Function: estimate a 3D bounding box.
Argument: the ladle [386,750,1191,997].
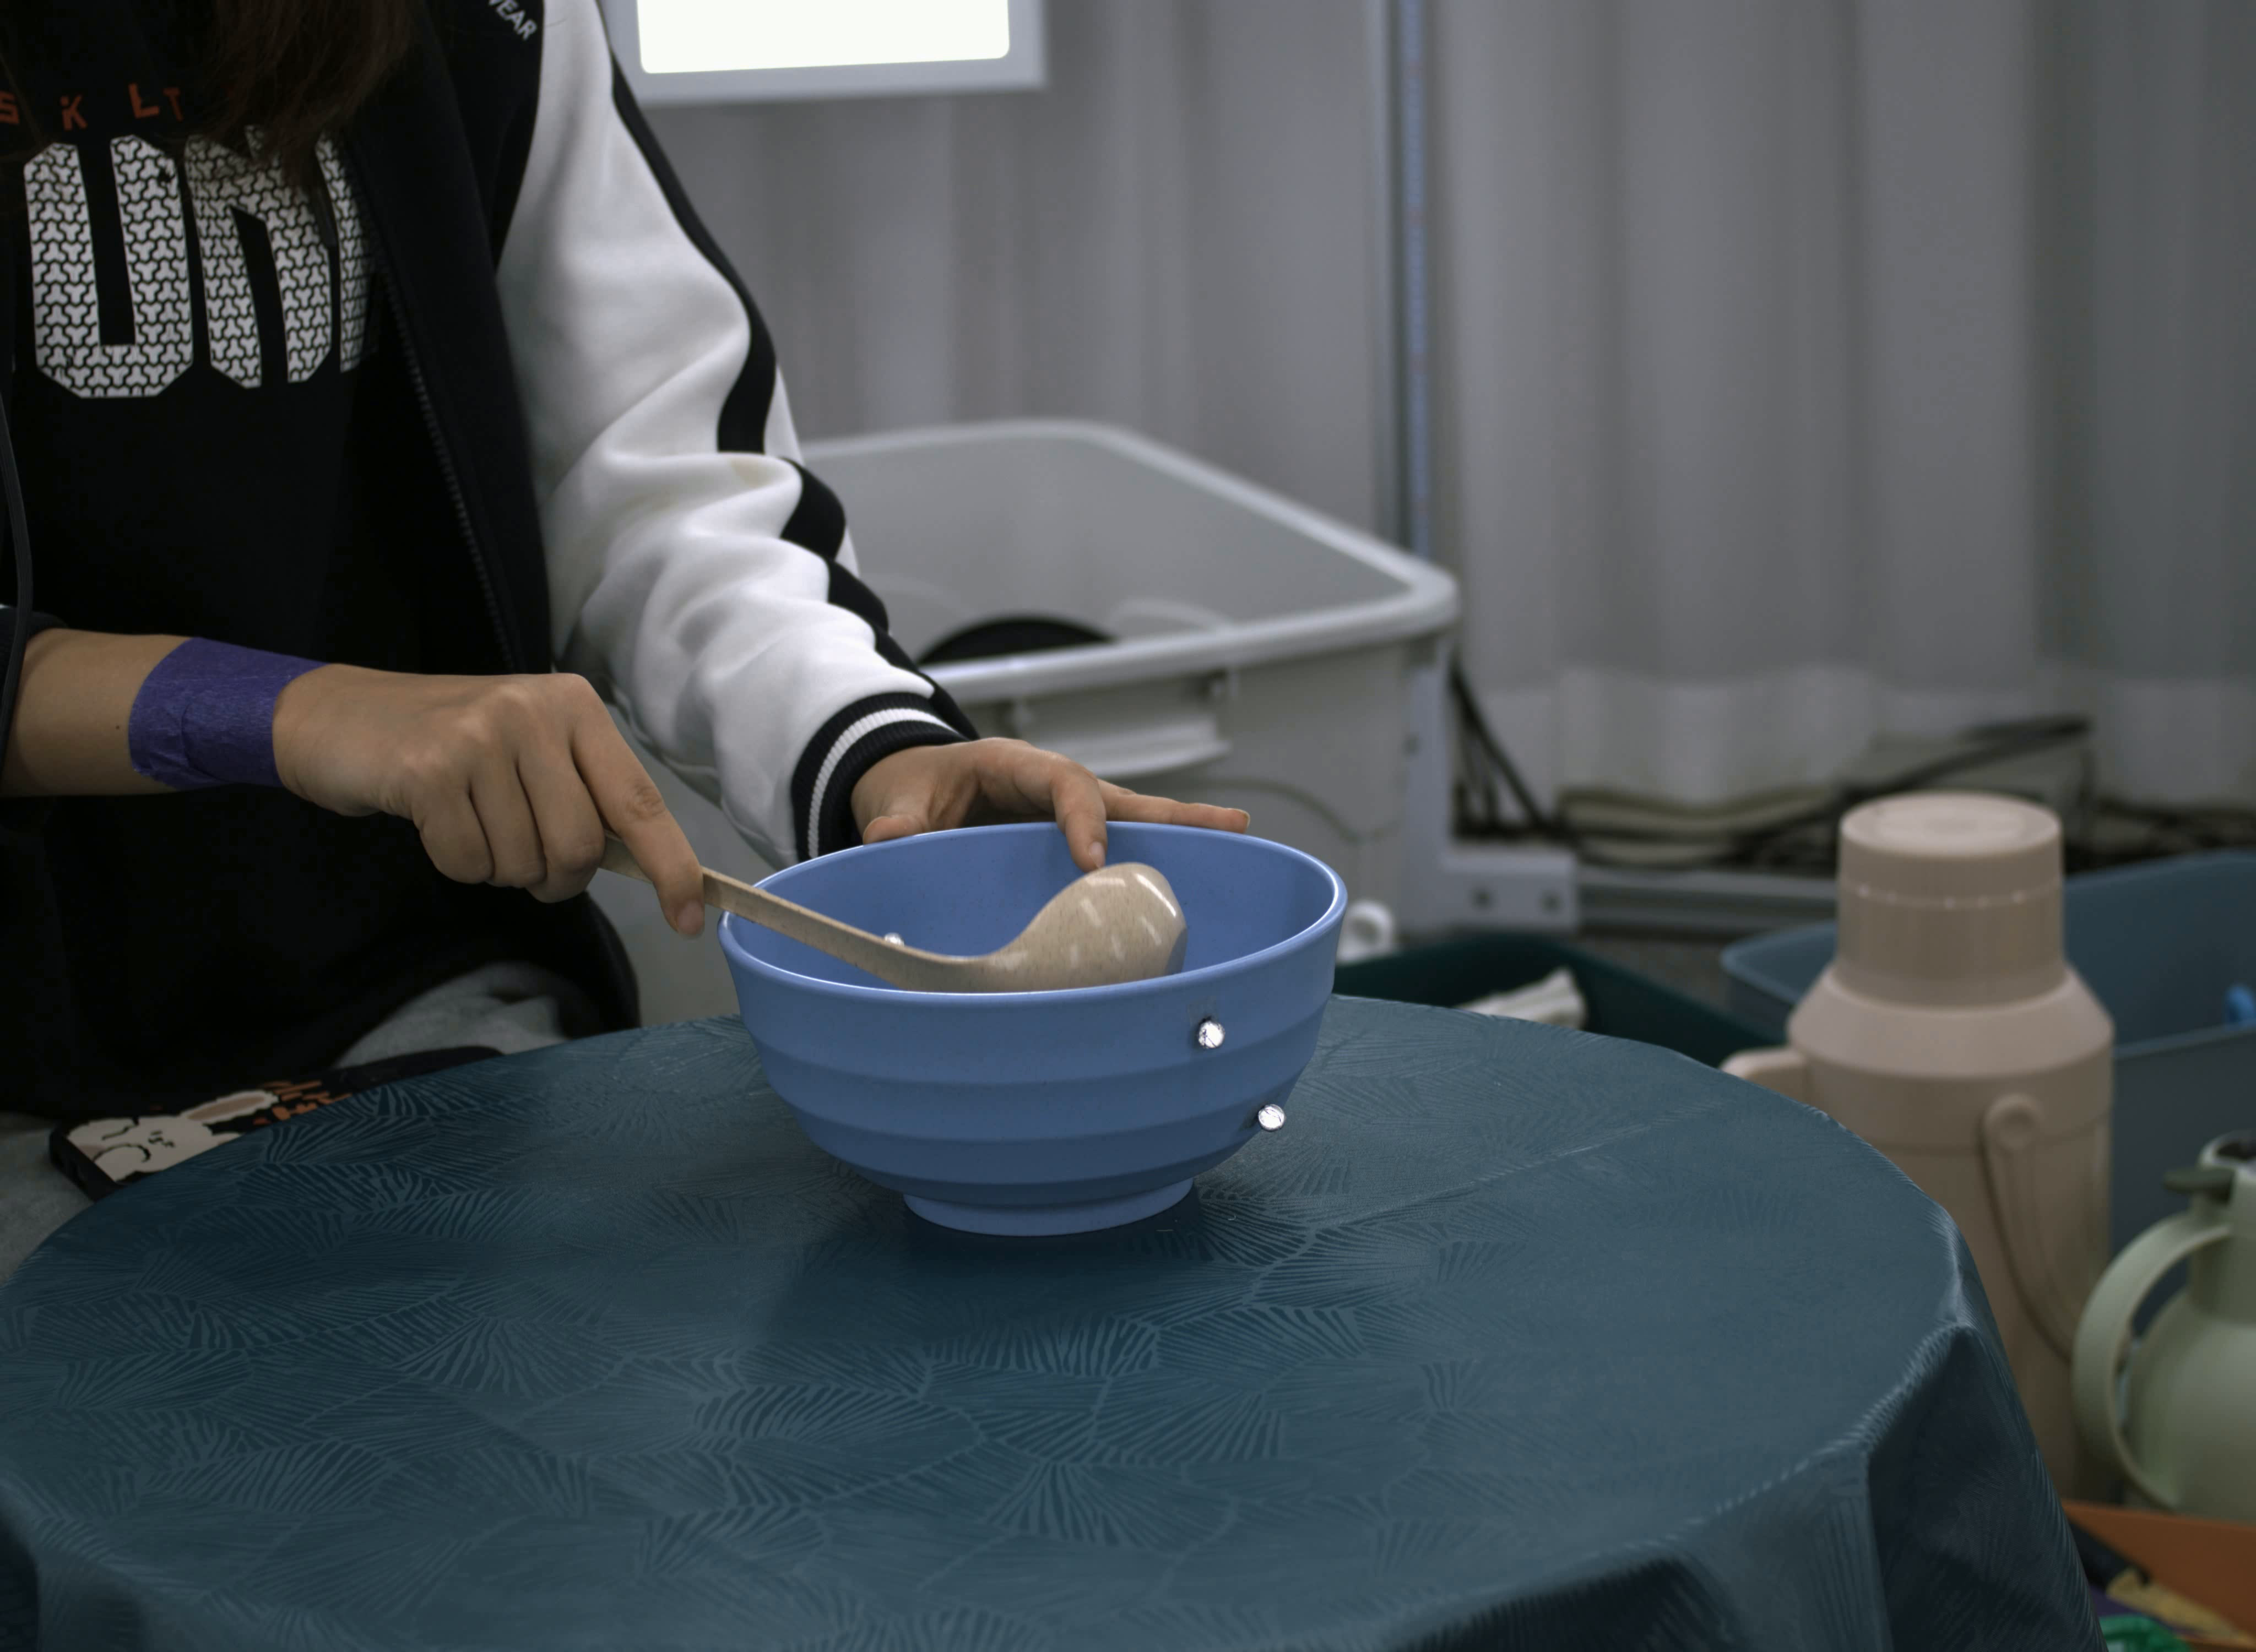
[{"bbox_3d":[-0.102,0.006,1.708,0.255,0.071,0.073,22,43,12],"label":"ladle"}]

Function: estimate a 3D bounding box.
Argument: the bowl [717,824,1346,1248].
[{"bbox_3d":[-0.027,0.072,1.710,0.196,0.095,0.198,-4,15,1],"label":"bowl"}]
